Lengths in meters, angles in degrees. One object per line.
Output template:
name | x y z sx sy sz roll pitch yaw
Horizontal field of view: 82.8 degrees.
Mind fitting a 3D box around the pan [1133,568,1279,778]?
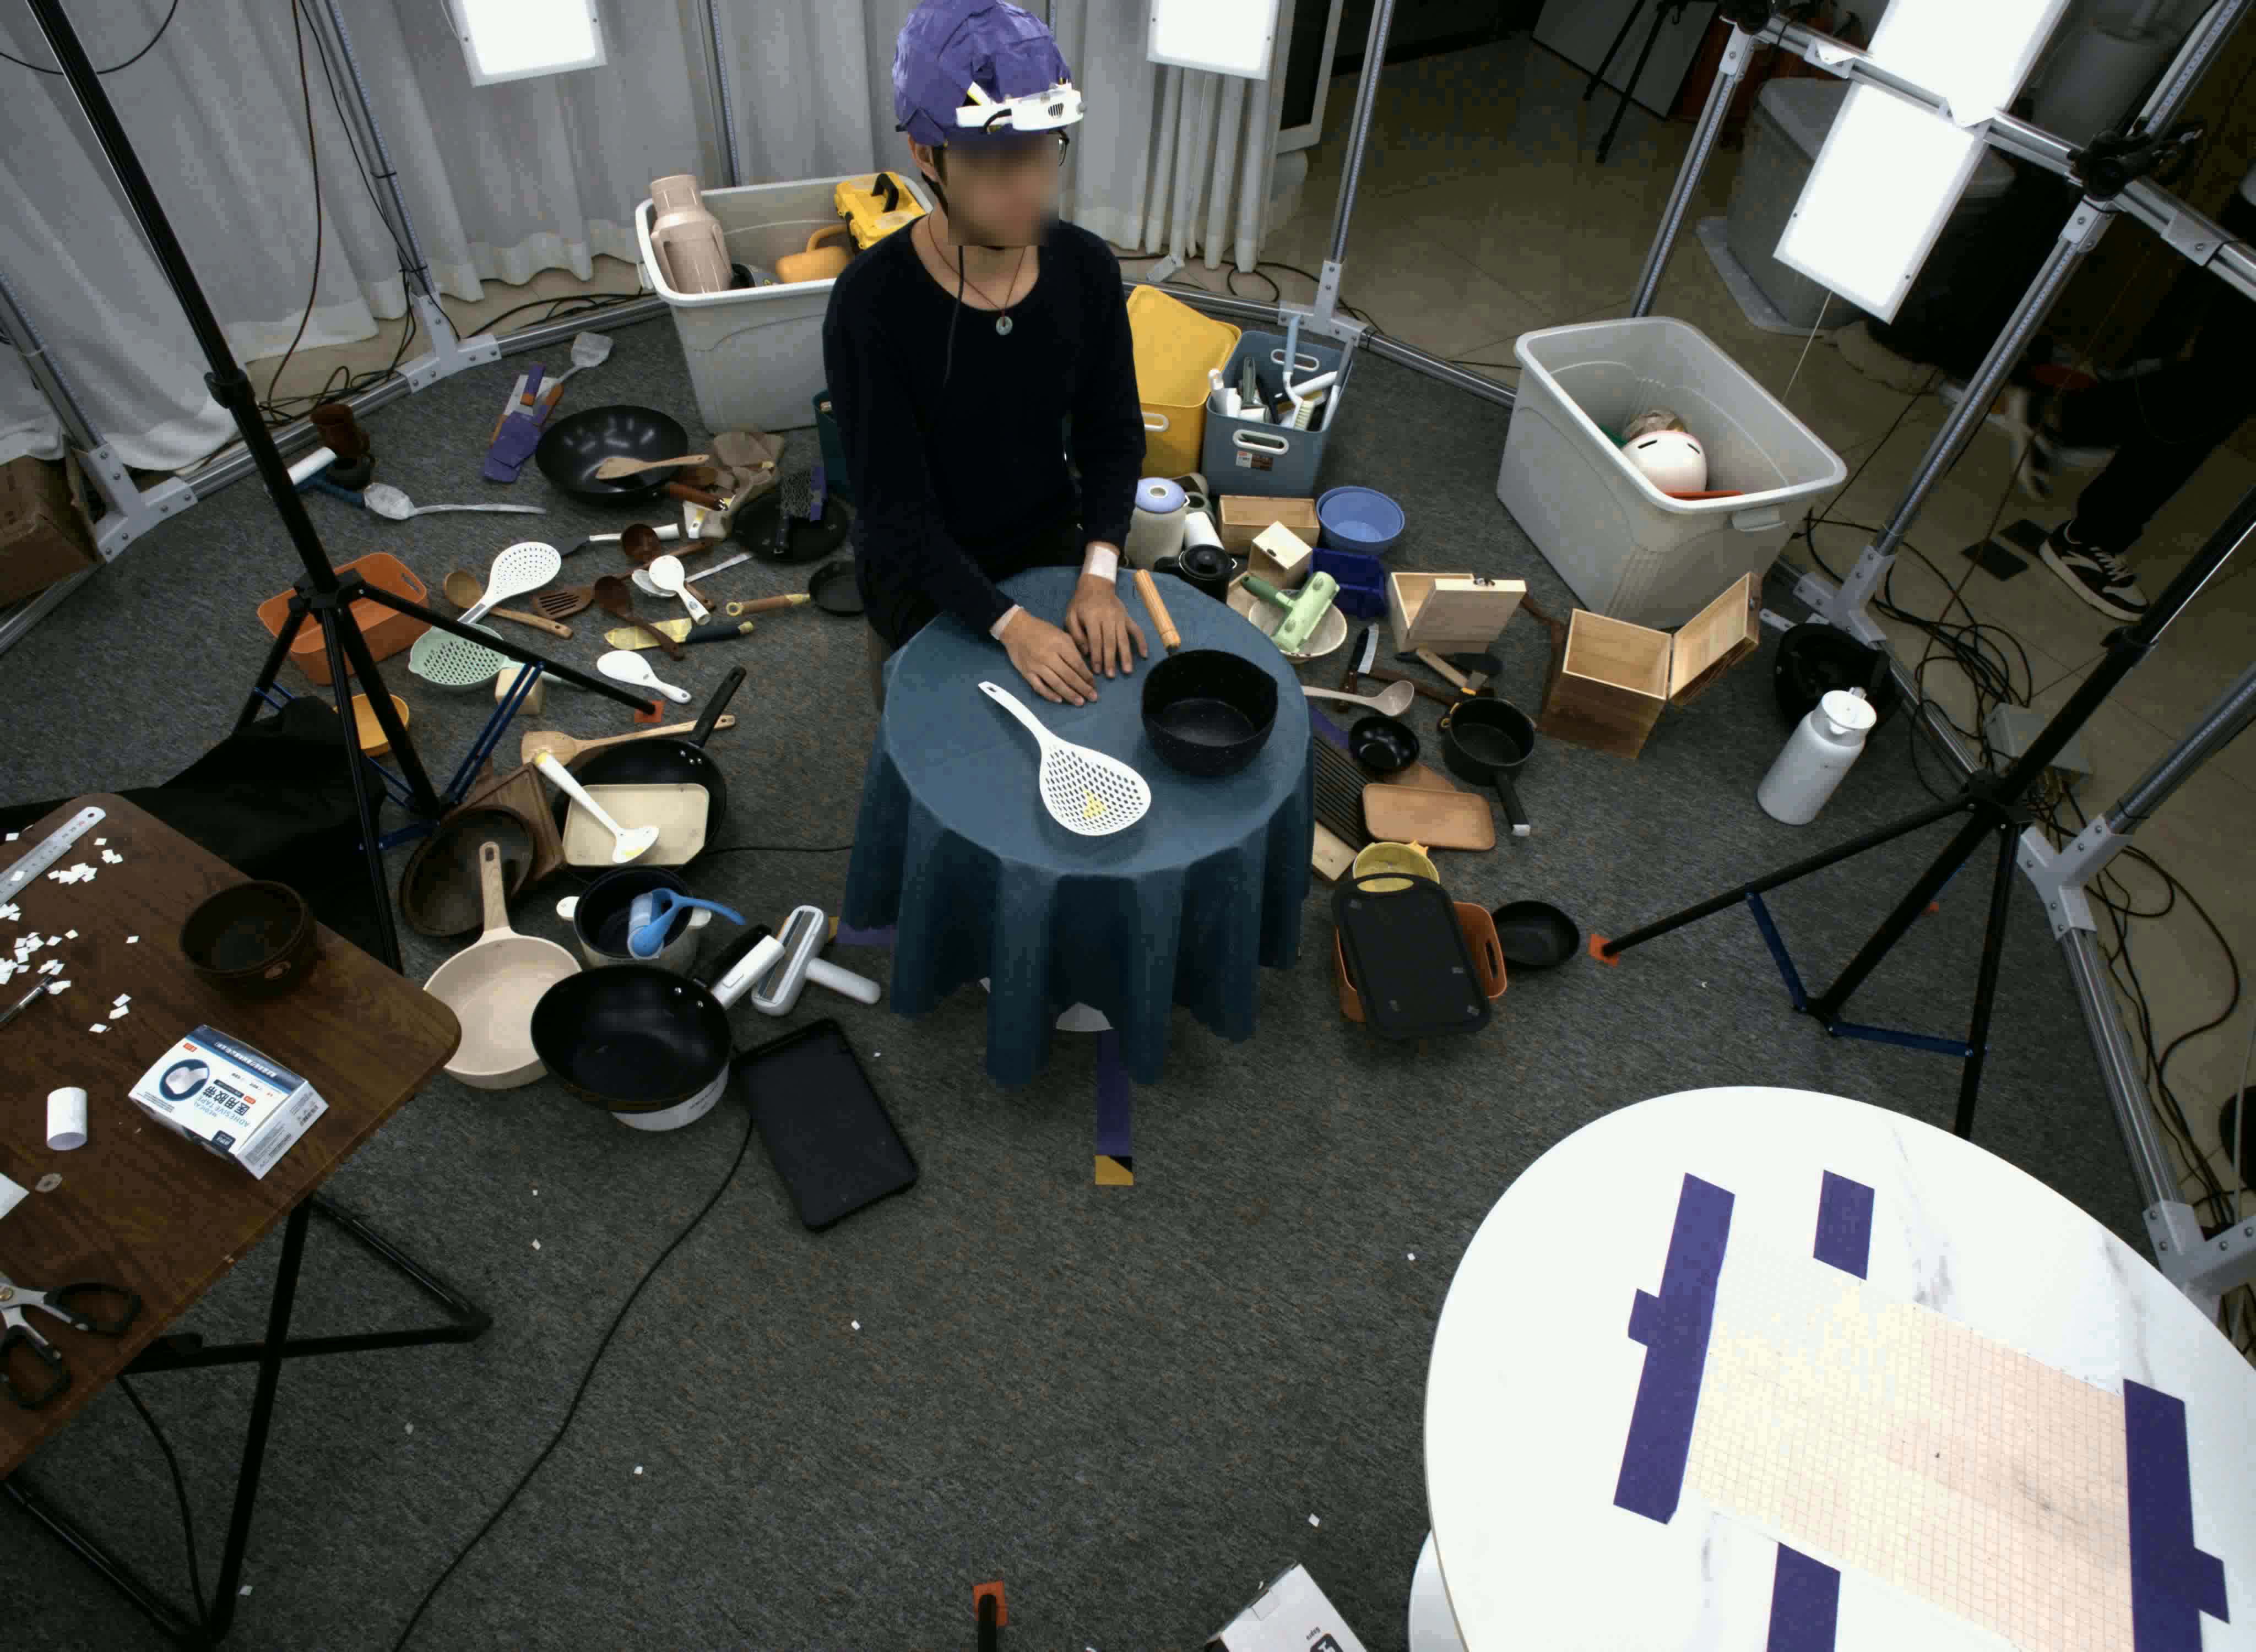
pan | 0.077 -0.214 1.790 0.207 0.105 0.351 -17 53 -16

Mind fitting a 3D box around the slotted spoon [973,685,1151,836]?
slotted spoon | -0.105 -0.101 1.721 0.137 0.049 0.354 -28 58 -23
